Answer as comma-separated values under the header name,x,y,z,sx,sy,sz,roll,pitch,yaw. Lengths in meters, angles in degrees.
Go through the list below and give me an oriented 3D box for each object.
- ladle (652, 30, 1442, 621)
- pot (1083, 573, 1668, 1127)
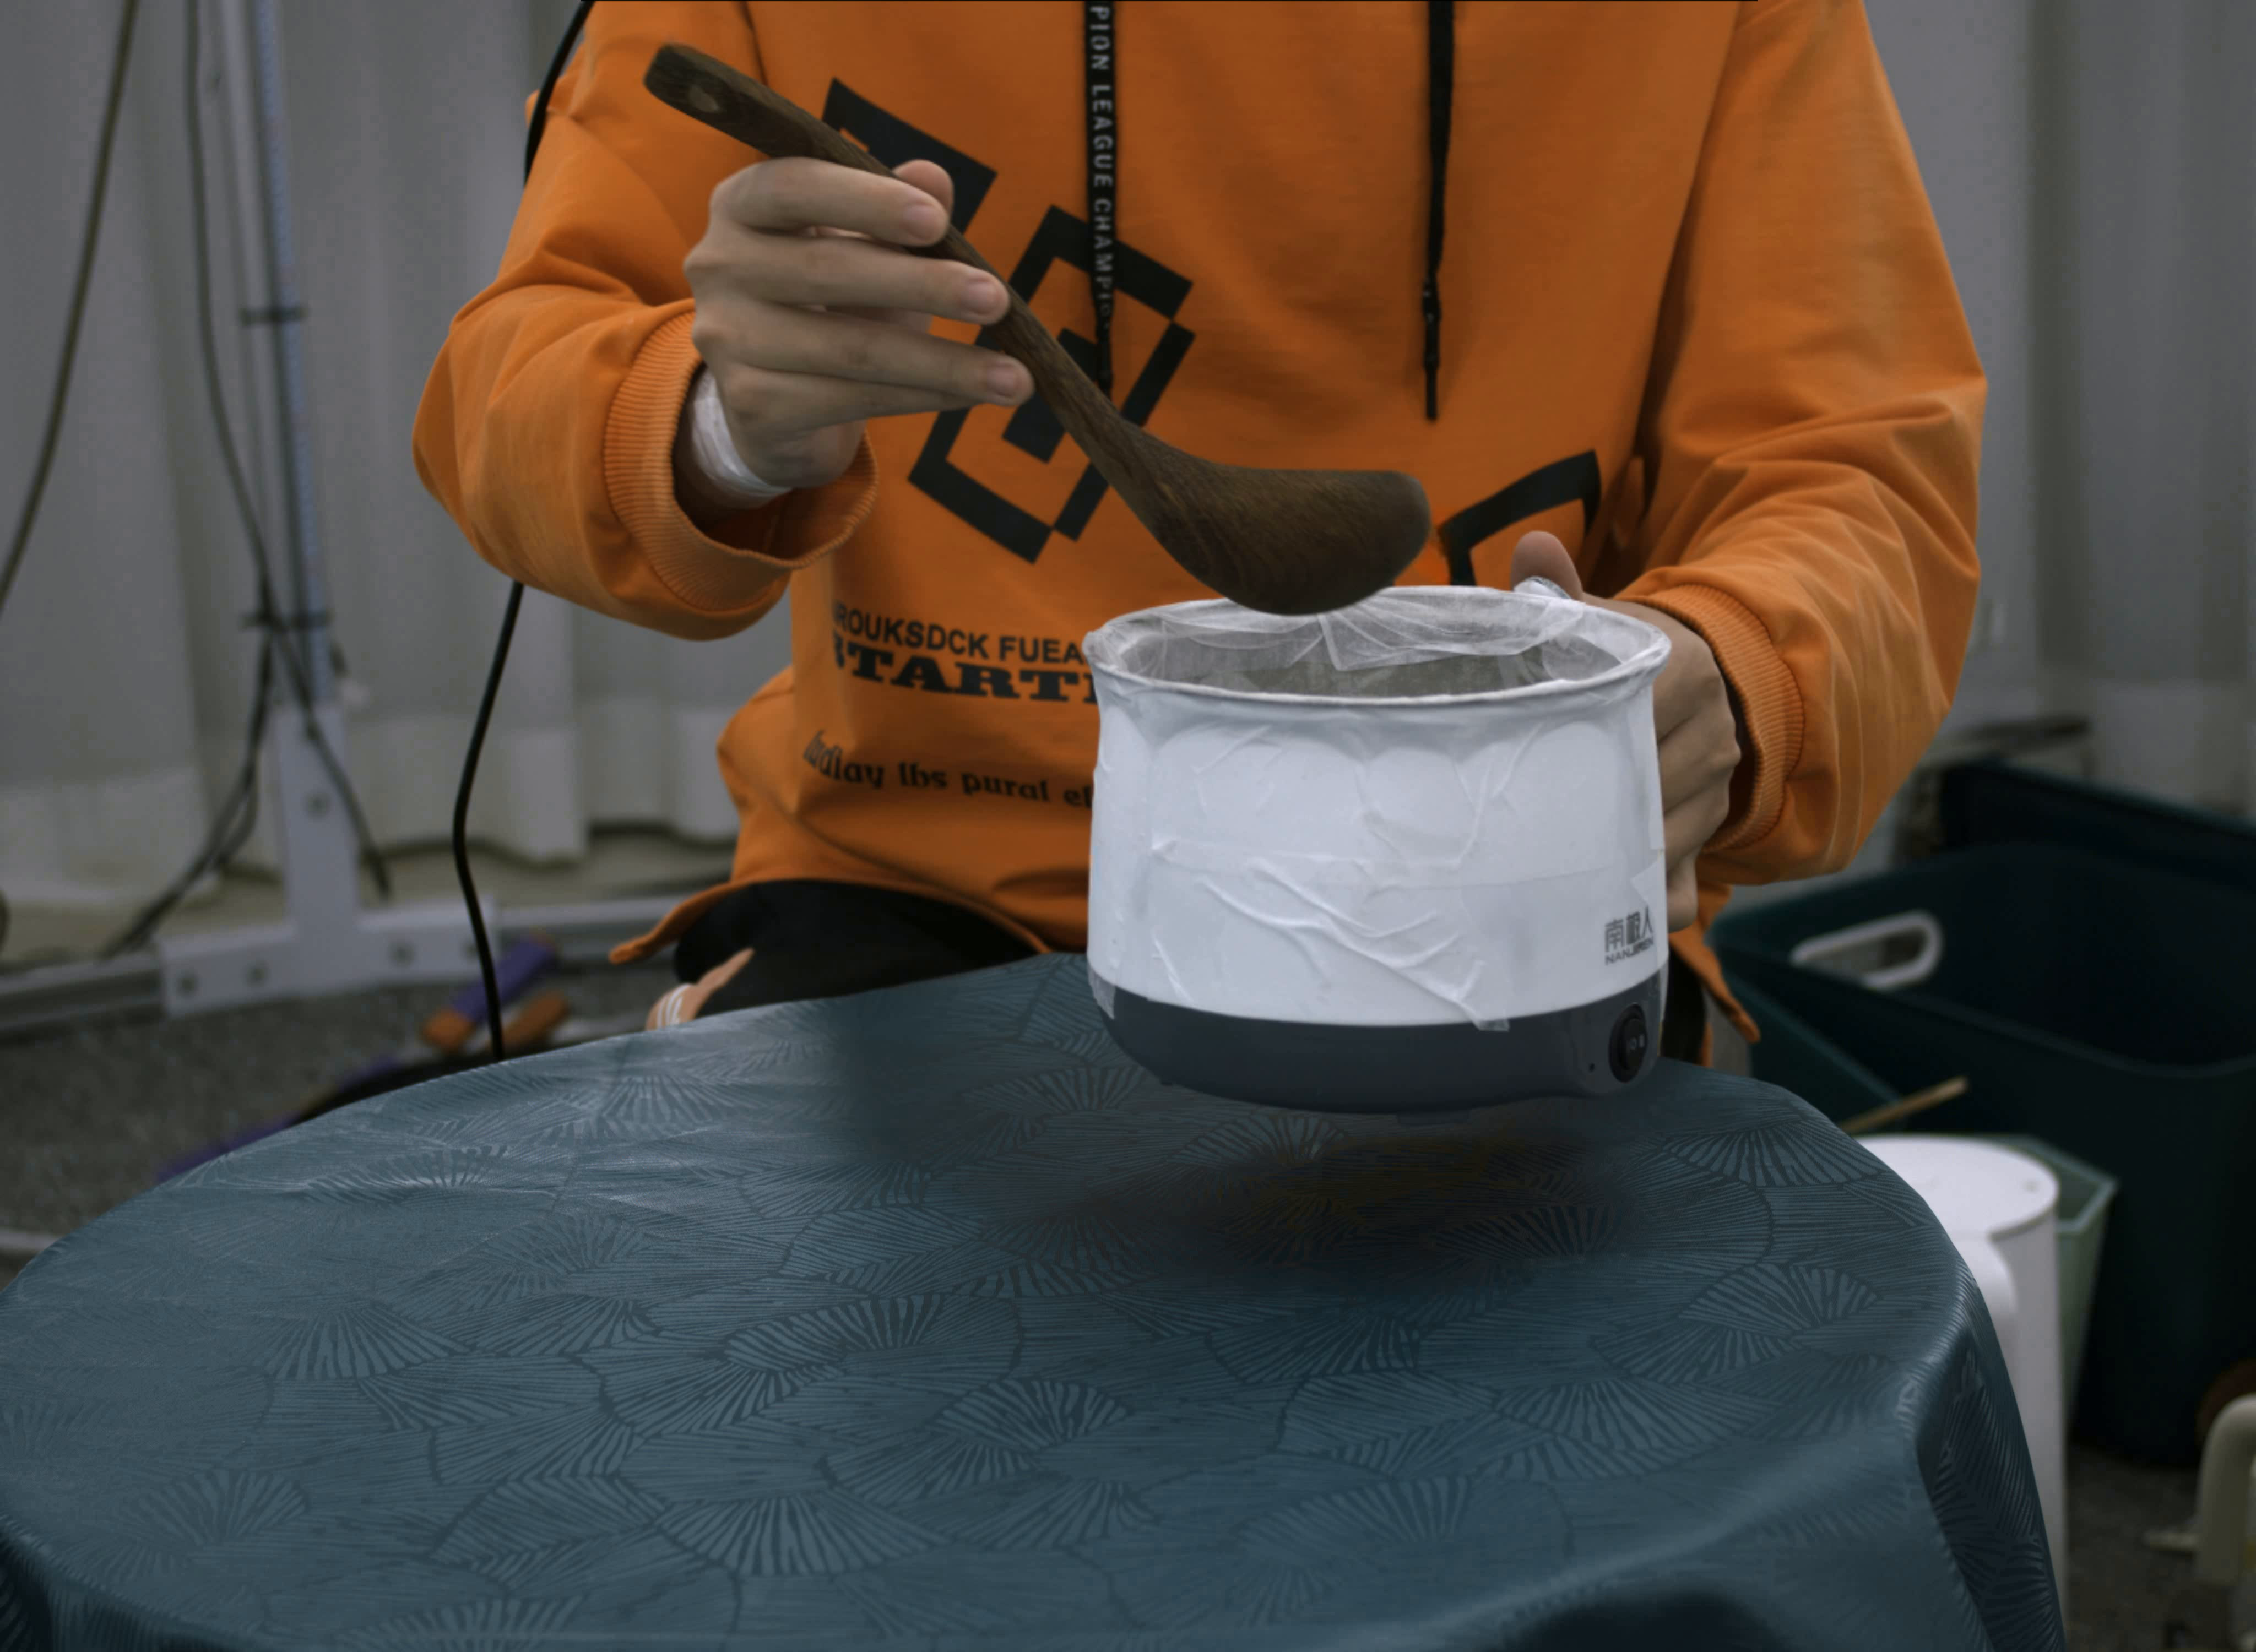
name,x,y,z,sx,sy,sz,roll,pitch,yaw
ladle,-0.022,-0.162,1.673,0.072,0.274,0.075,-45,-4,-37
pot,0.089,0.001,1.679,0.179,0.136,0.233,8,15,31
